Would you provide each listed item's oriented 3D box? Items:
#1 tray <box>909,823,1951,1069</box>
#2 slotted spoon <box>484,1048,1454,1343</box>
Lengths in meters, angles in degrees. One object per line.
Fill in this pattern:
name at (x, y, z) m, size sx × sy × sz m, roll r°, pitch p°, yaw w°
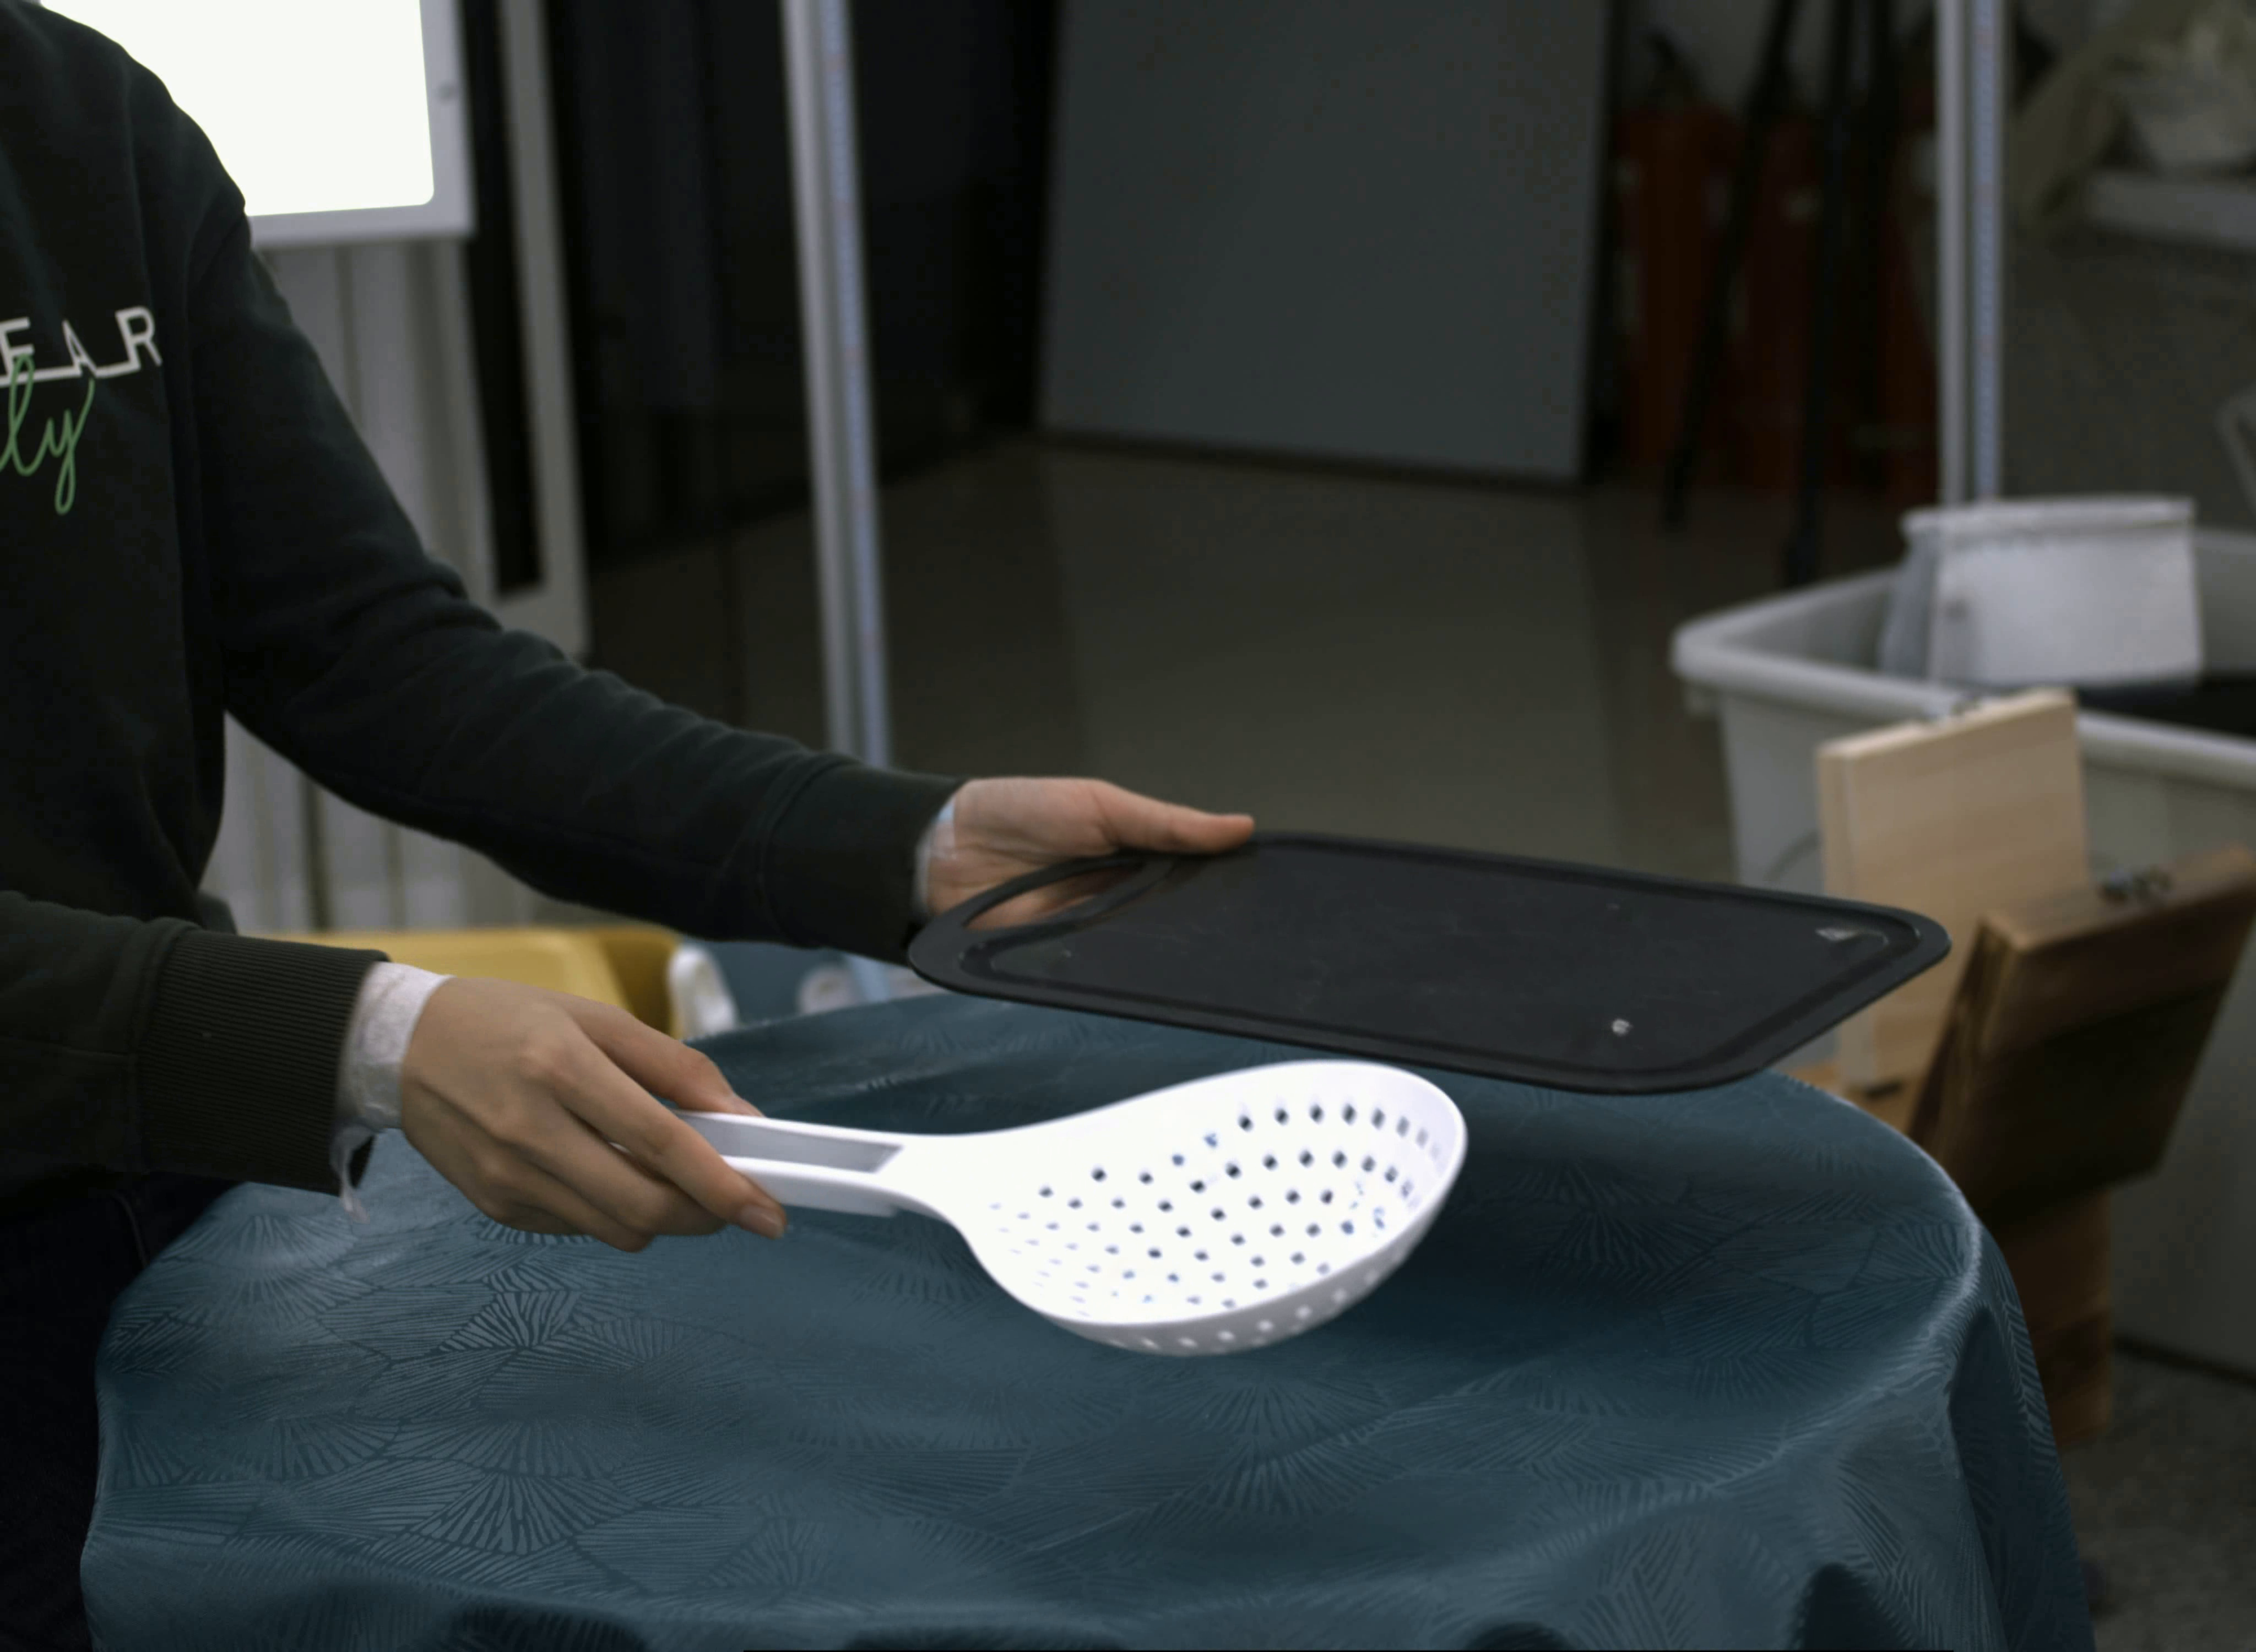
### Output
tray at (0.088, 0.034, 1.732) m, size 0.327 × 0.010 × 0.207 m, roll 7°, pitch 18°, yaw 35°
slotted spoon at (-0.056, 0.098, 1.547) m, size 0.352 × 0.046 × 0.134 m, roll 7°, pitch 33°, yaw 38°
